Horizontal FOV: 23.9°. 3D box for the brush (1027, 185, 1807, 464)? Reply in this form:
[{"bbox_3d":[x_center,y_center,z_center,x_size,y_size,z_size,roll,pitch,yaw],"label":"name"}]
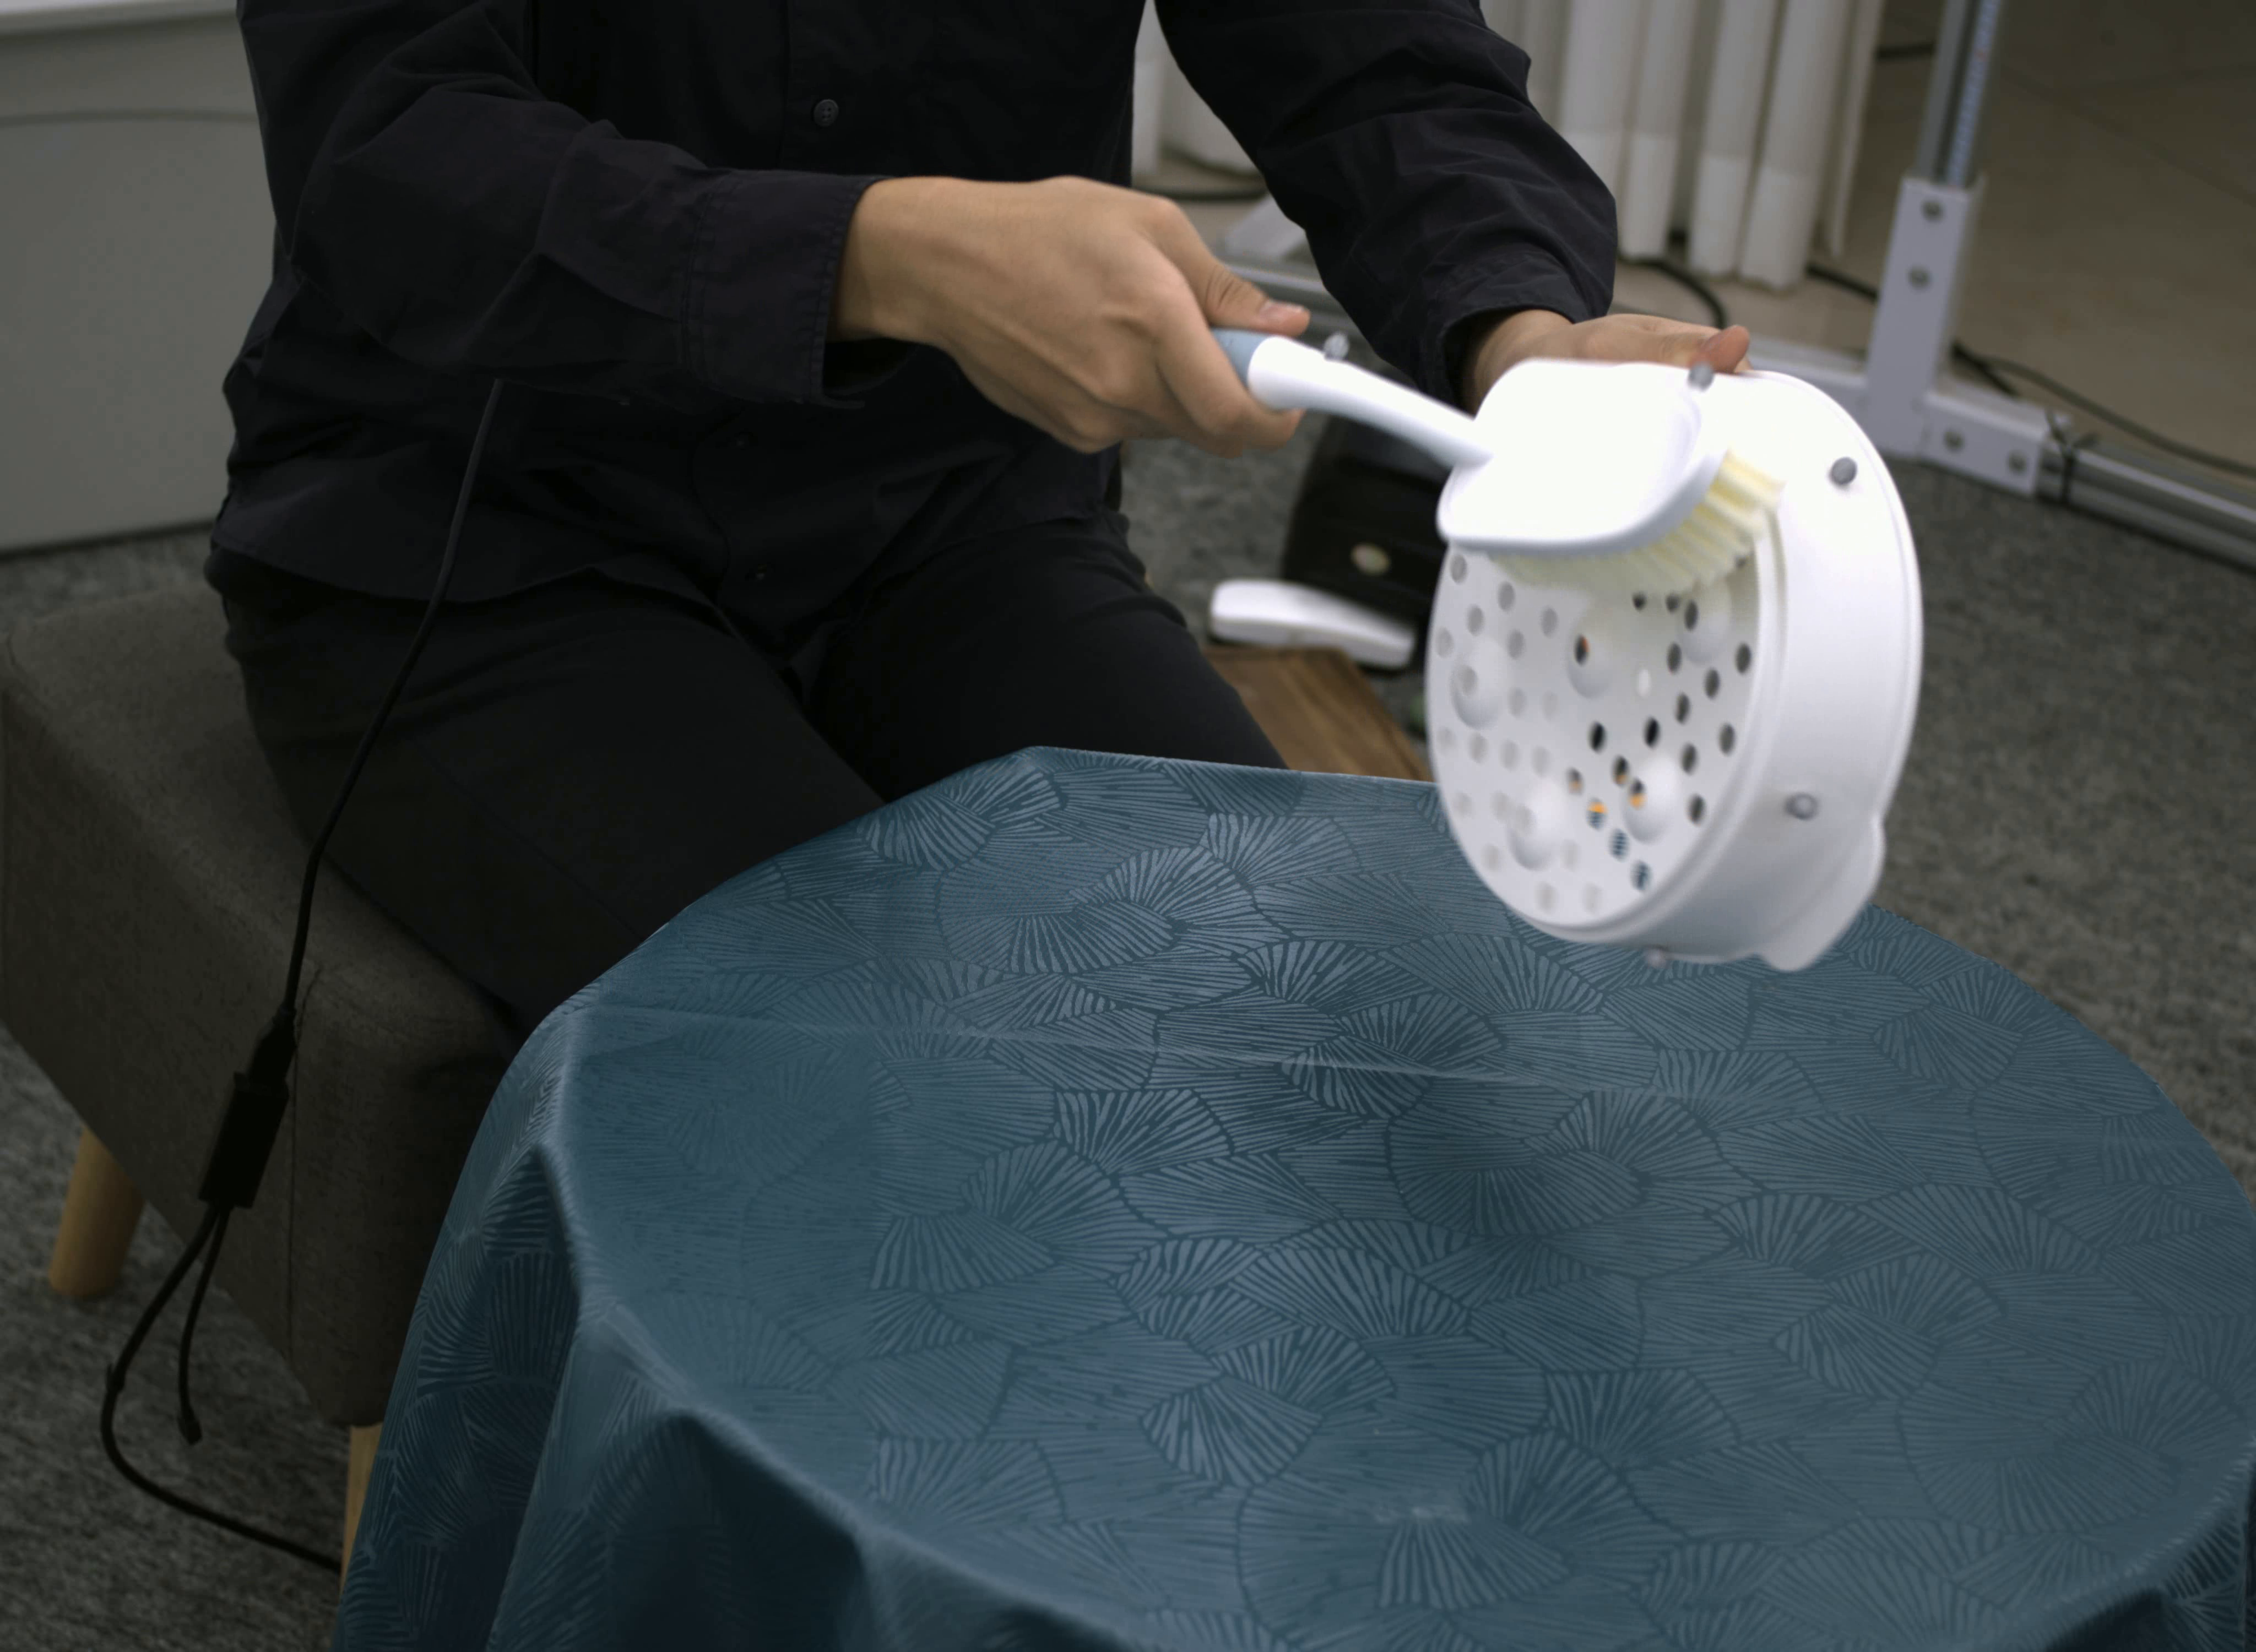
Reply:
[{"bbox_3d":[0.101,-0.176,1.798,0.327,0.084,0.083,14,41,43],"label":"brush"}]

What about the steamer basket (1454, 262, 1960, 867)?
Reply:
[{"bbox_3d":[0.189,-0.090,1.793,0.068,0.201,0.233,8,46,-33],"label":"steamer basket"}]
